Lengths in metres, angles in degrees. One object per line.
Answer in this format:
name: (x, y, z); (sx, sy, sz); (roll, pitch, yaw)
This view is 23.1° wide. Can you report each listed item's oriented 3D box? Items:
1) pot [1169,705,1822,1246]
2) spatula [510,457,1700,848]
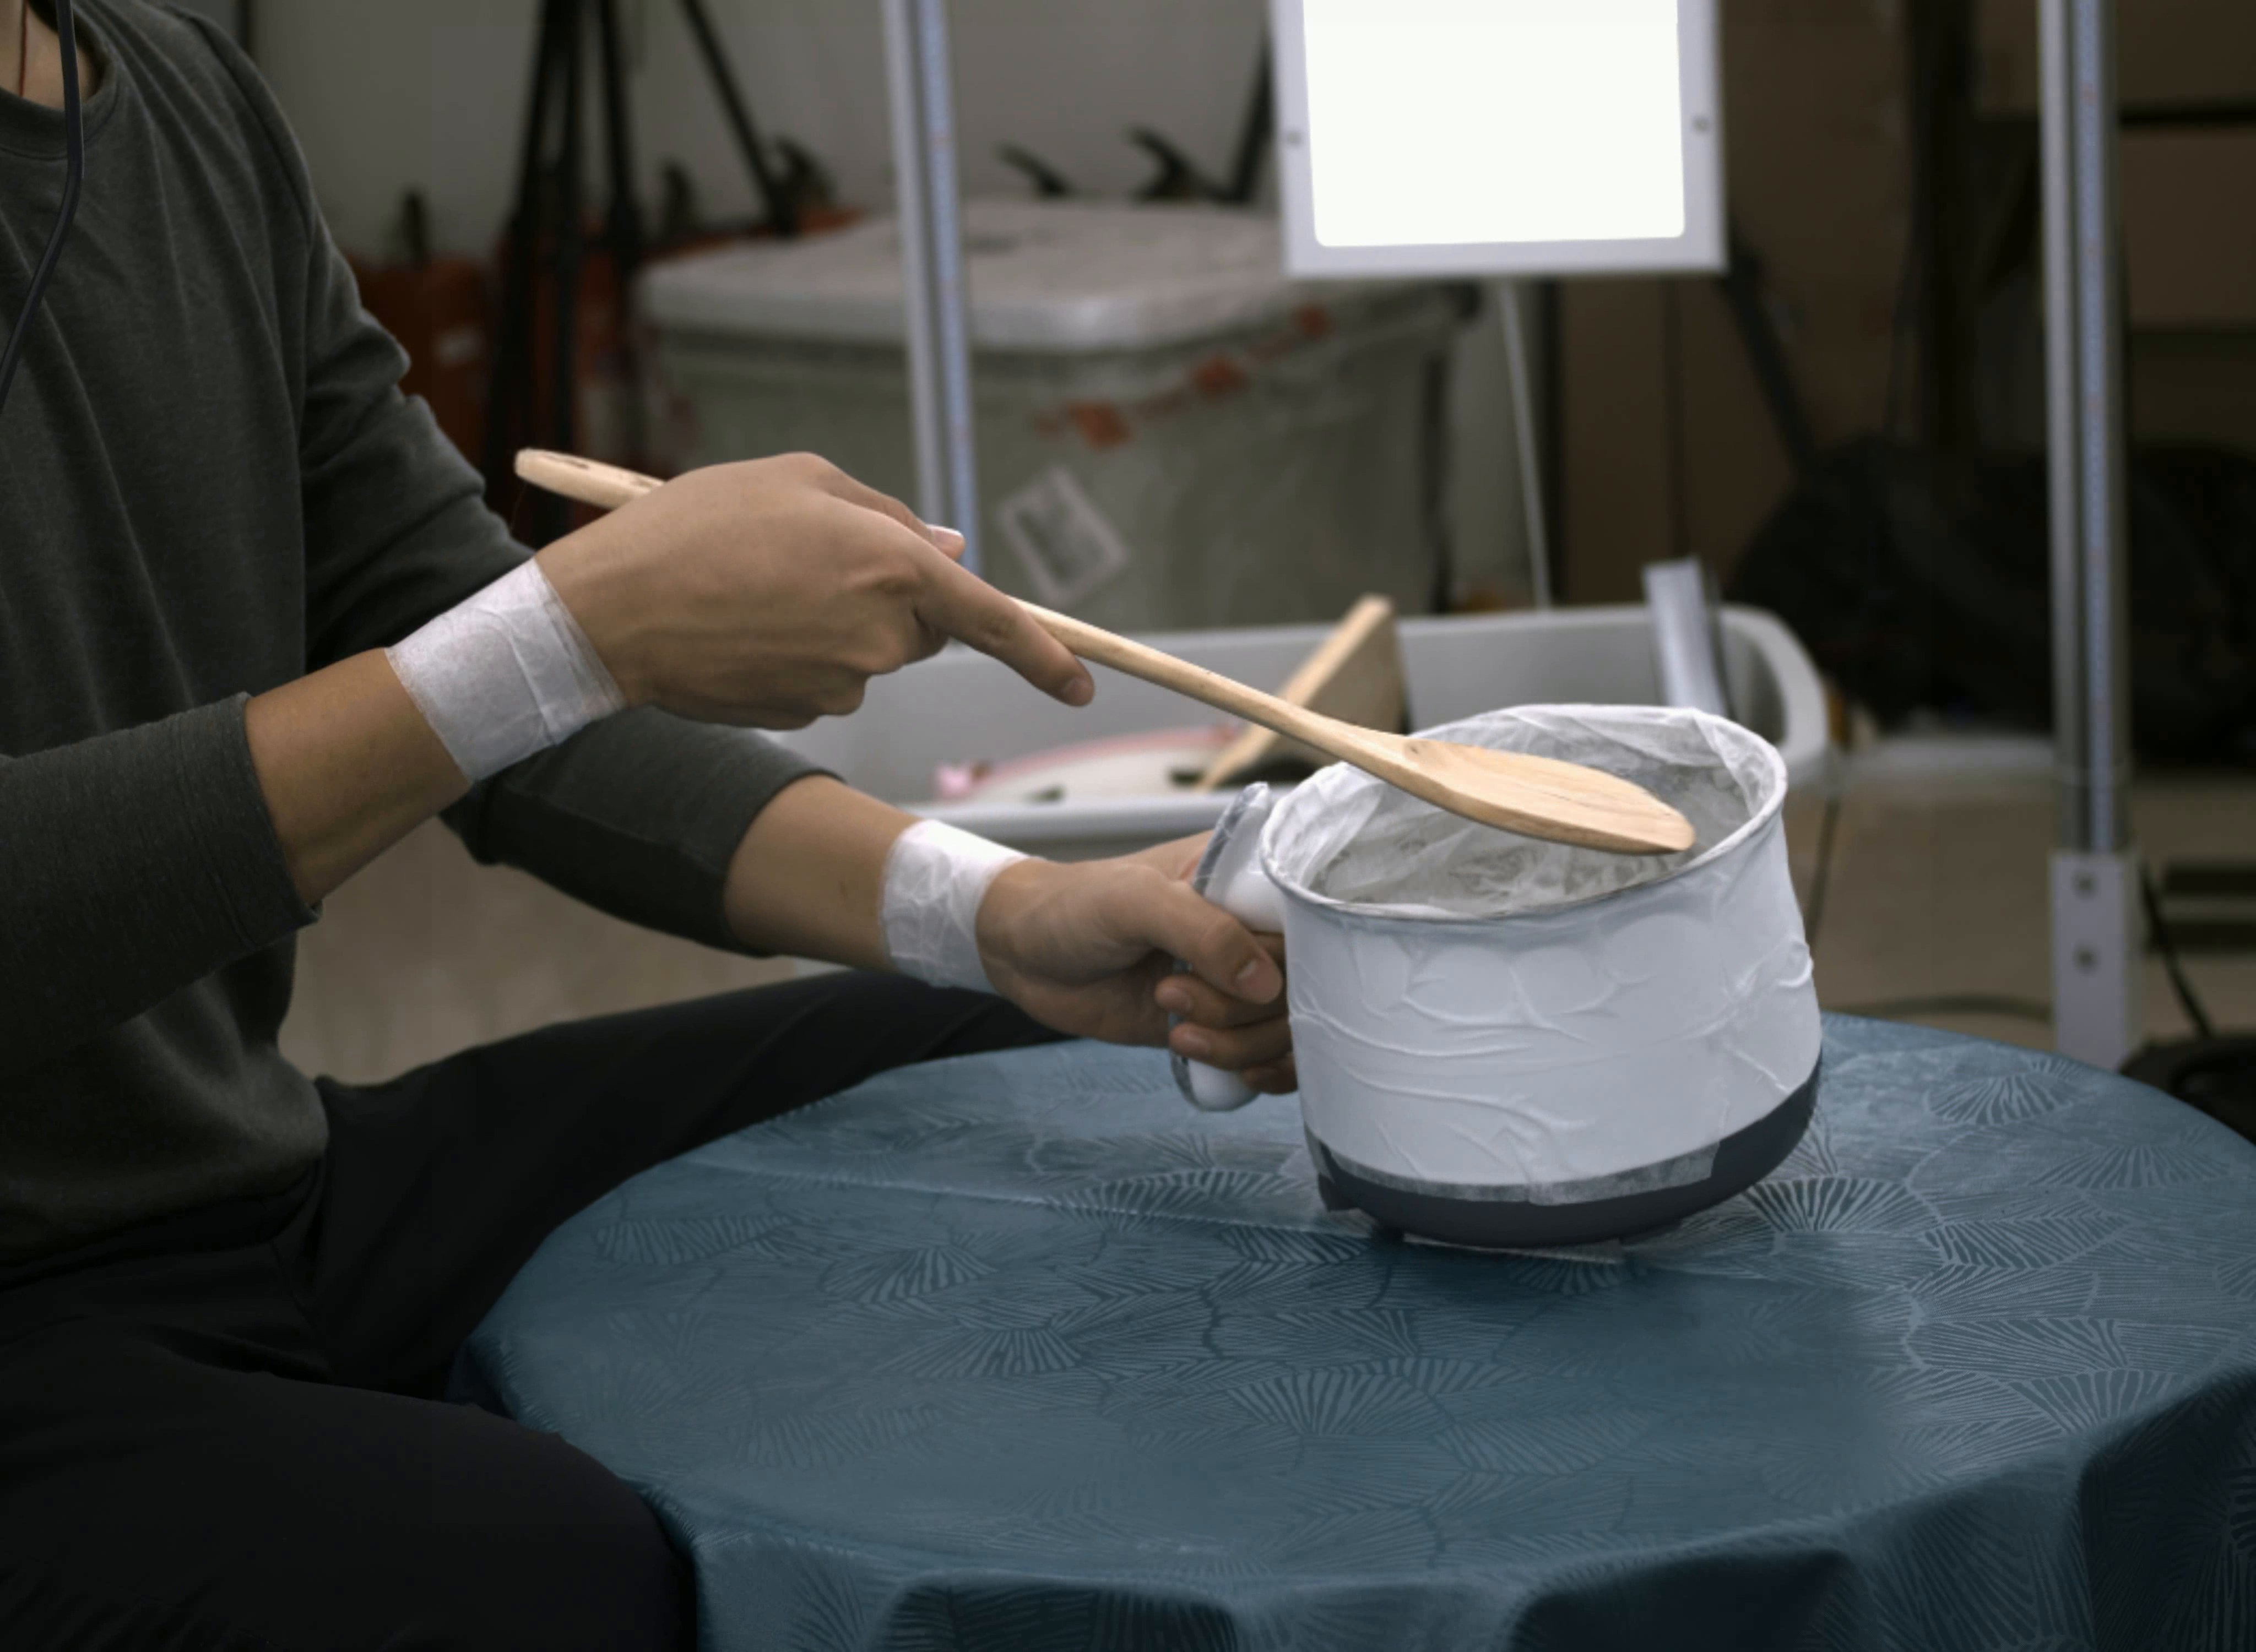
pot: (0.117, 0.050, 1.850); (0.238, 0.137, 0.175); (2, 23, 29)
spatula: (-0.007, -0.054, 1.724); (0.390, 0.018, 0.095); (19, 10, 0)
